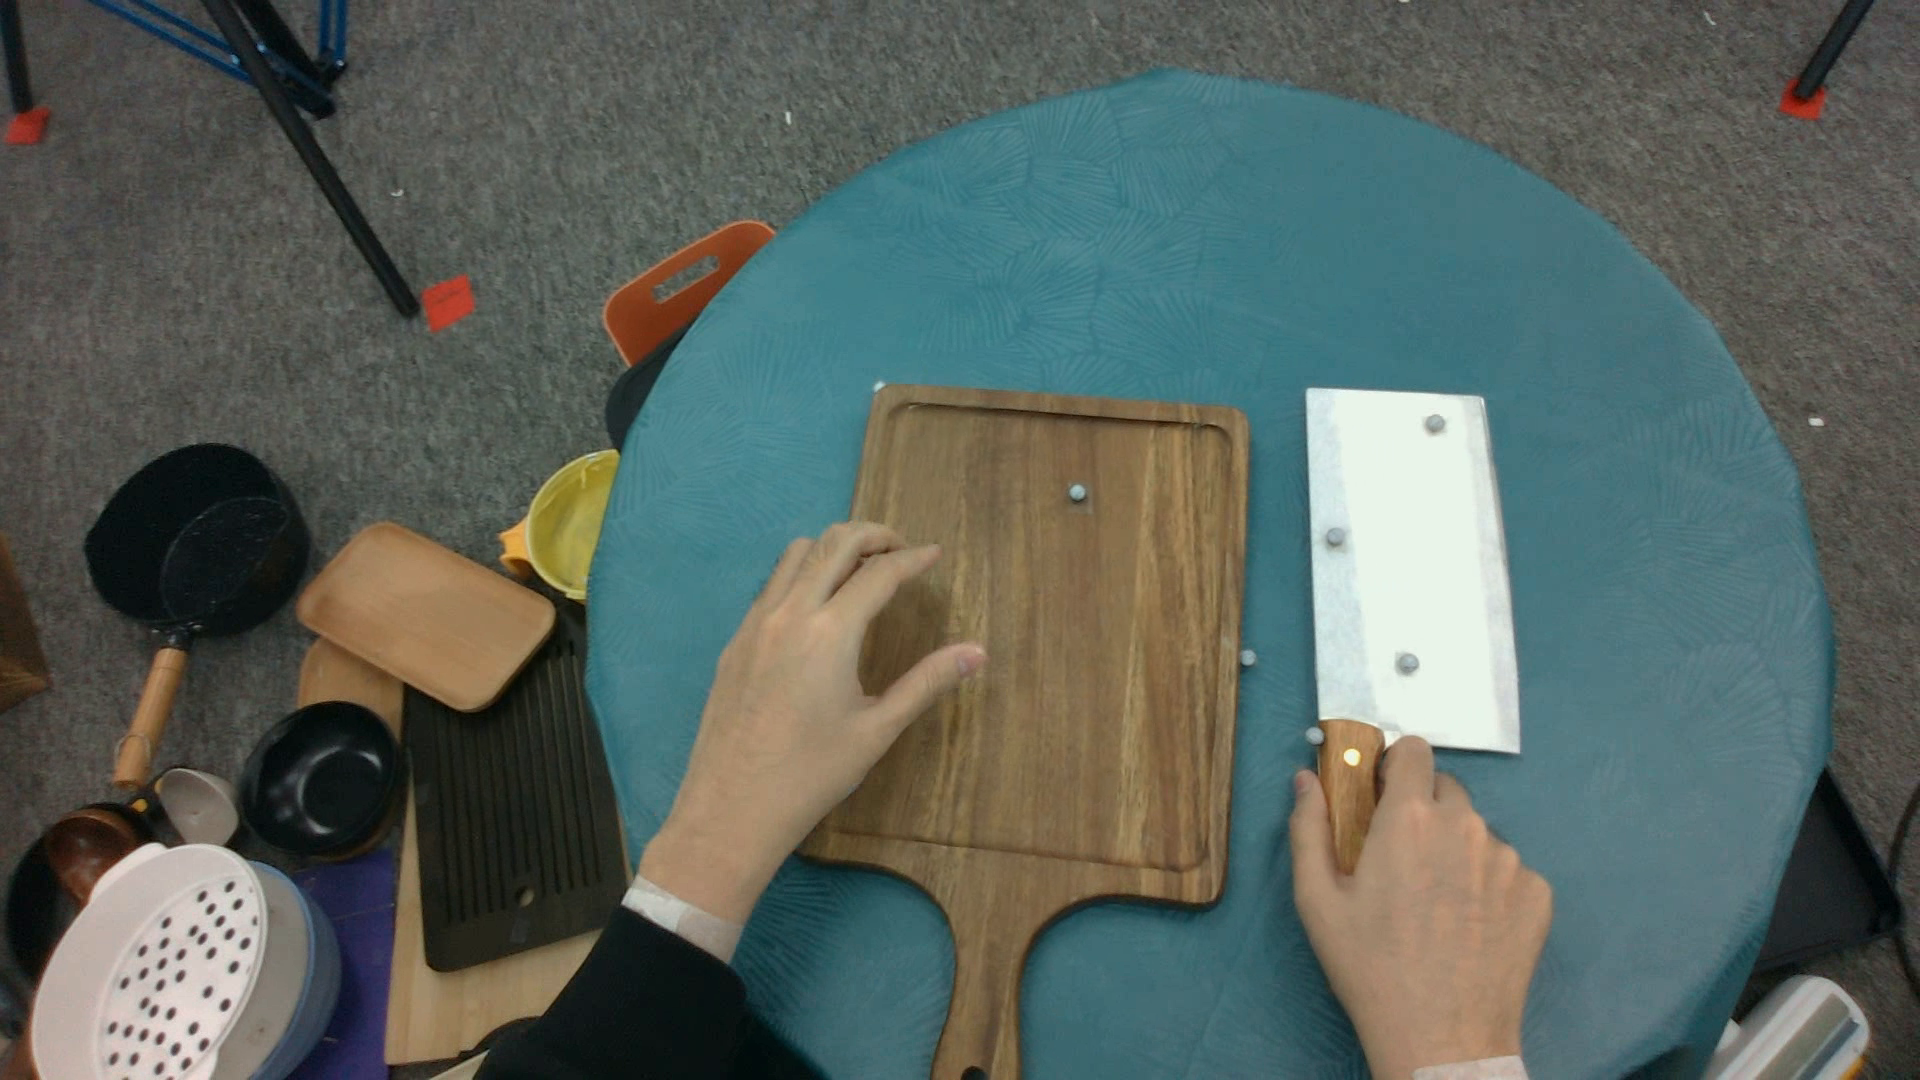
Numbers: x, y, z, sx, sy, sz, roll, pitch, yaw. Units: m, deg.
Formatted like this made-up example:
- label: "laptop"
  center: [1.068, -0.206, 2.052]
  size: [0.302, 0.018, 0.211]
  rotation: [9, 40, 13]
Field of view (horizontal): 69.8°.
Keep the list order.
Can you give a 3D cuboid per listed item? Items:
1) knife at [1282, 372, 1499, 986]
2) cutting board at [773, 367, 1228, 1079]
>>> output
- label: "knife"
  center: [0.201, 0.050, 0.641]
  size: [0.093, 0.021, 0.307]
  rotation: [3, 63, 1]
- label: "cutting board"
  center: [0.020, 0.078, 0.642]
  size: [0.201, 0.023, 0.353]
  rotation: [4, 67, 7]
